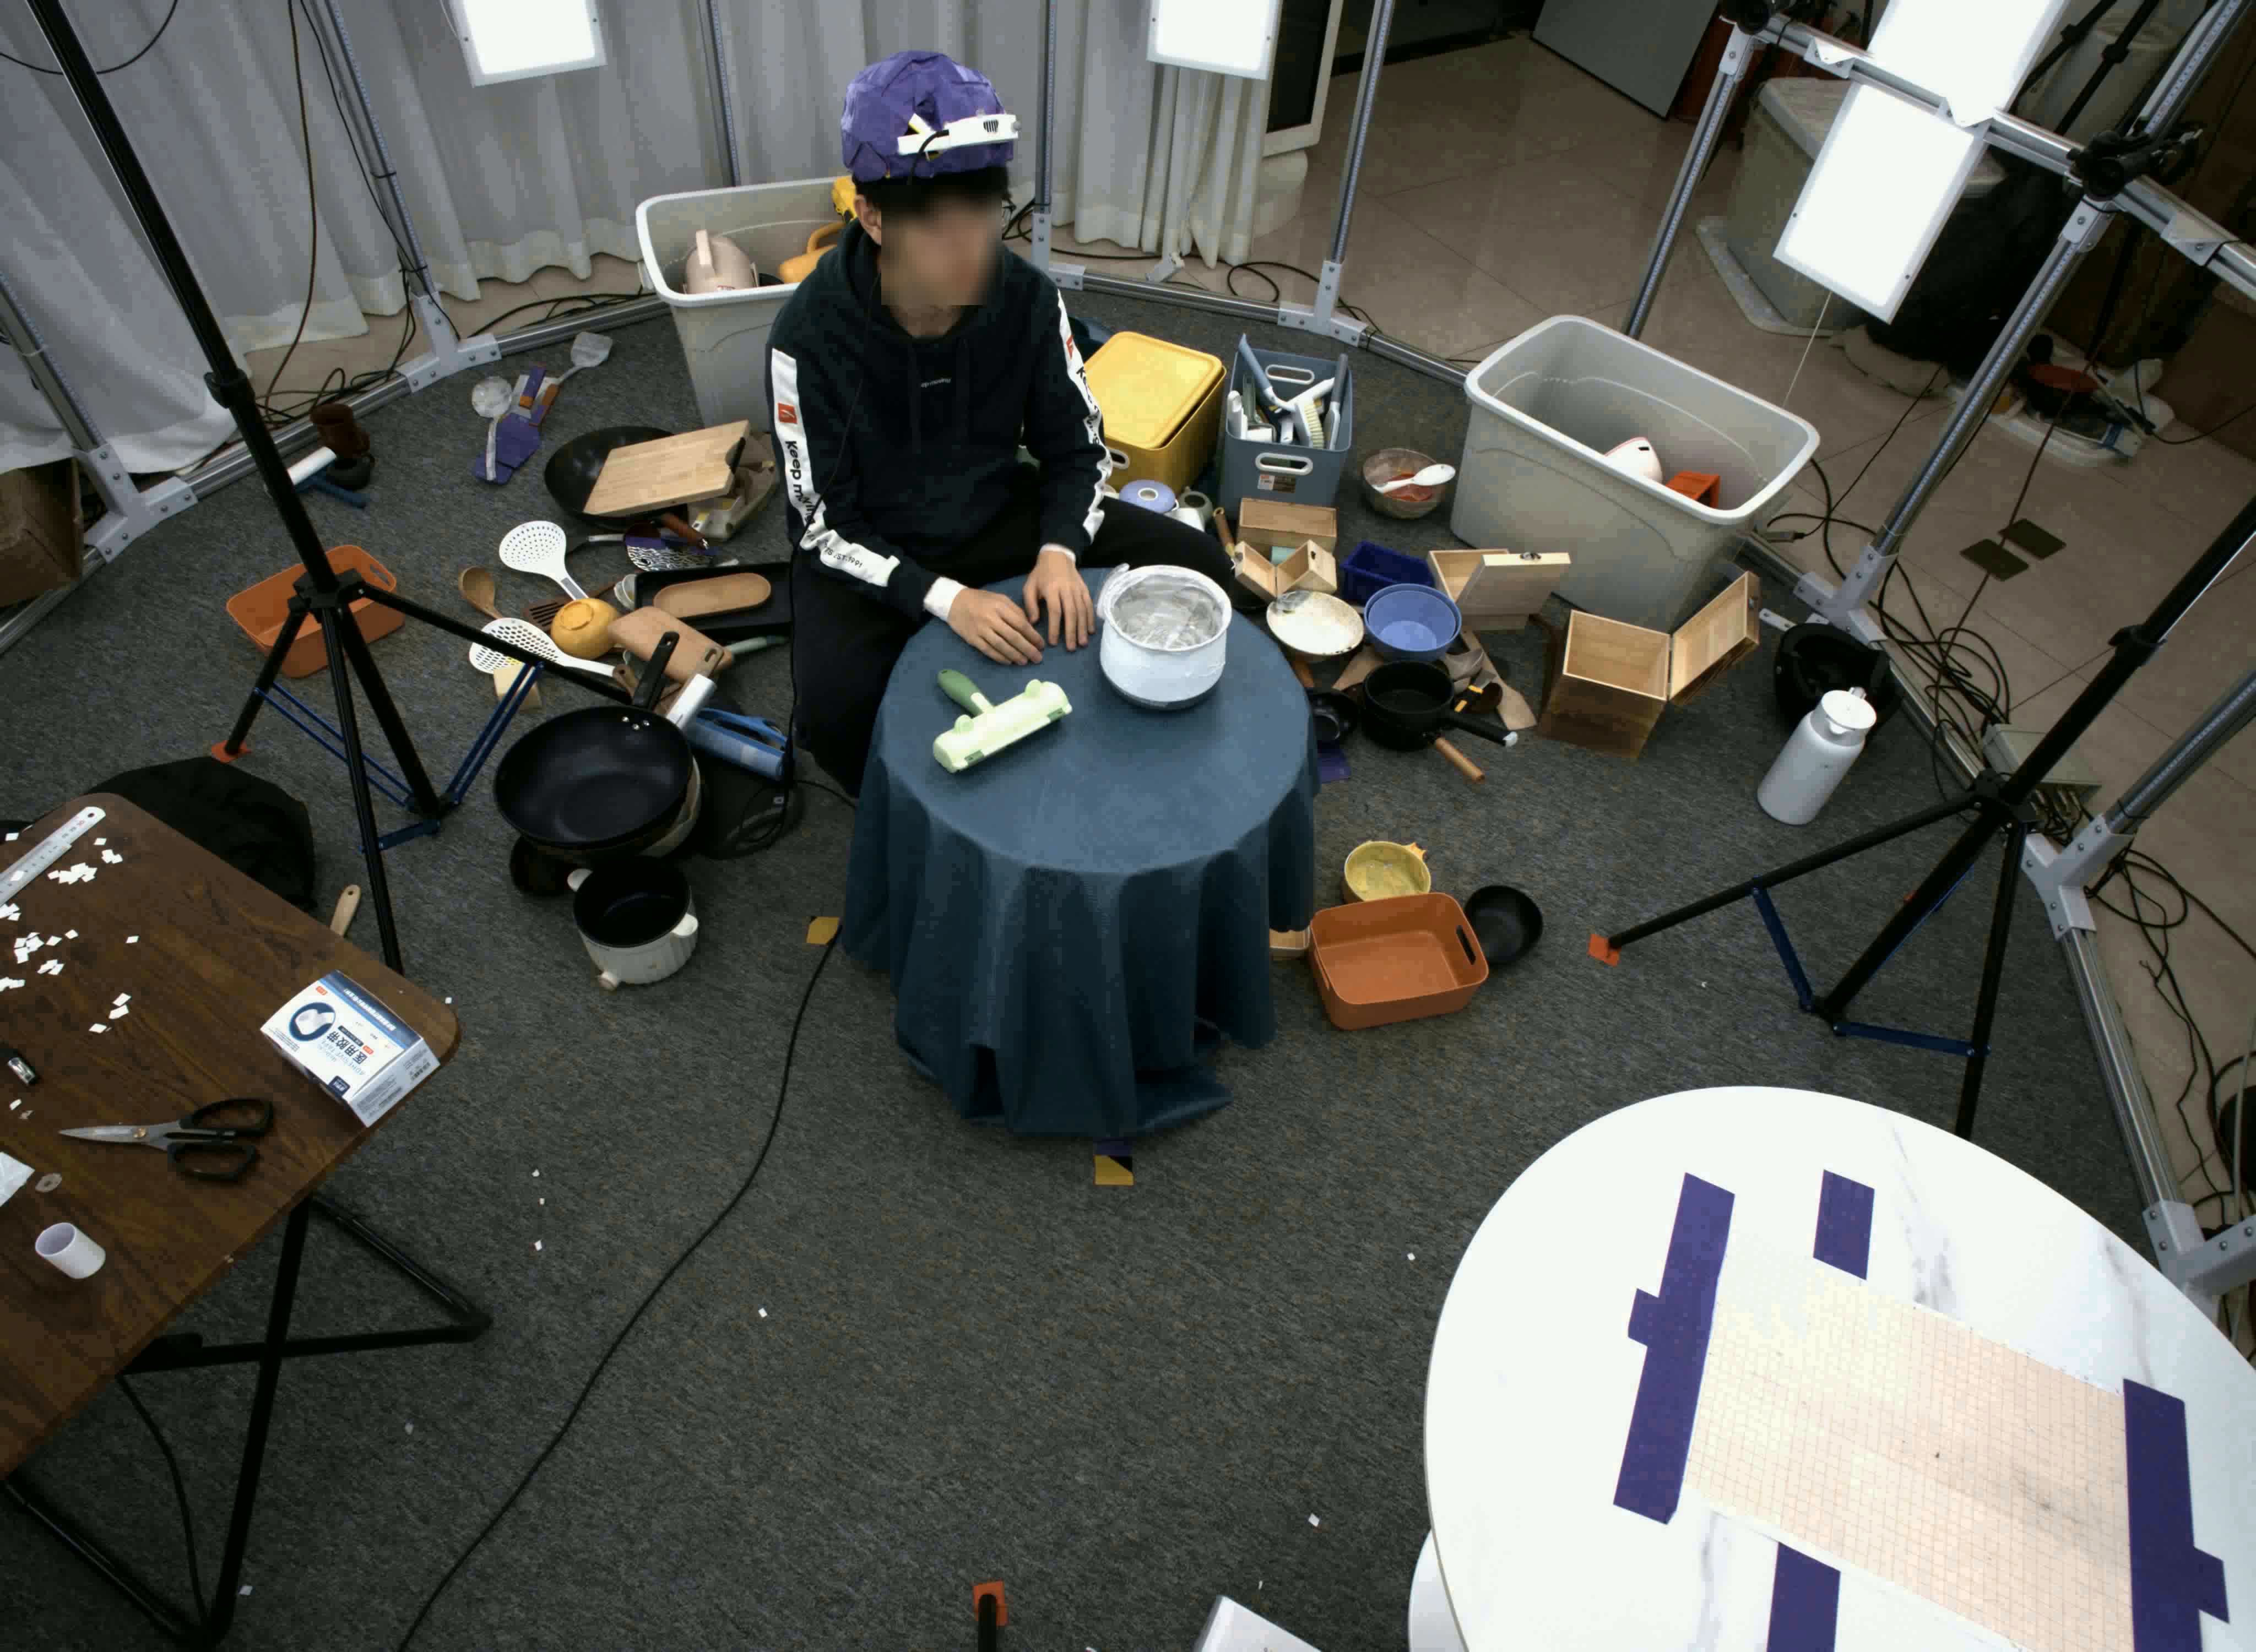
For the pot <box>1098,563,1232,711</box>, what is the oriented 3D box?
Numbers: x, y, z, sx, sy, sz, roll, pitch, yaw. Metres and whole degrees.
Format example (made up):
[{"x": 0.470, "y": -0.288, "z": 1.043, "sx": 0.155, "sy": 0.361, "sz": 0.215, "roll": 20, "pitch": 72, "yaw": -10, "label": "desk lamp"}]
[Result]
[{"x": 0.035, "y": -0.279, "z": 1.824, "sx": 0.180, "sy": 0.133, "sz": 0.238, "roll": -28, "pitch": 57, "yaw": -25, "label": "pot"}]

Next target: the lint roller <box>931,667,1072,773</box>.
[{"x": -0.204, "y": -0.177, "z": 1.759, "sx": 0.200, "sy": 0.080, "sz": 0.186, "roll": -30, "pitch": 62, "yaw": -26, "label": "lint roller"}]
